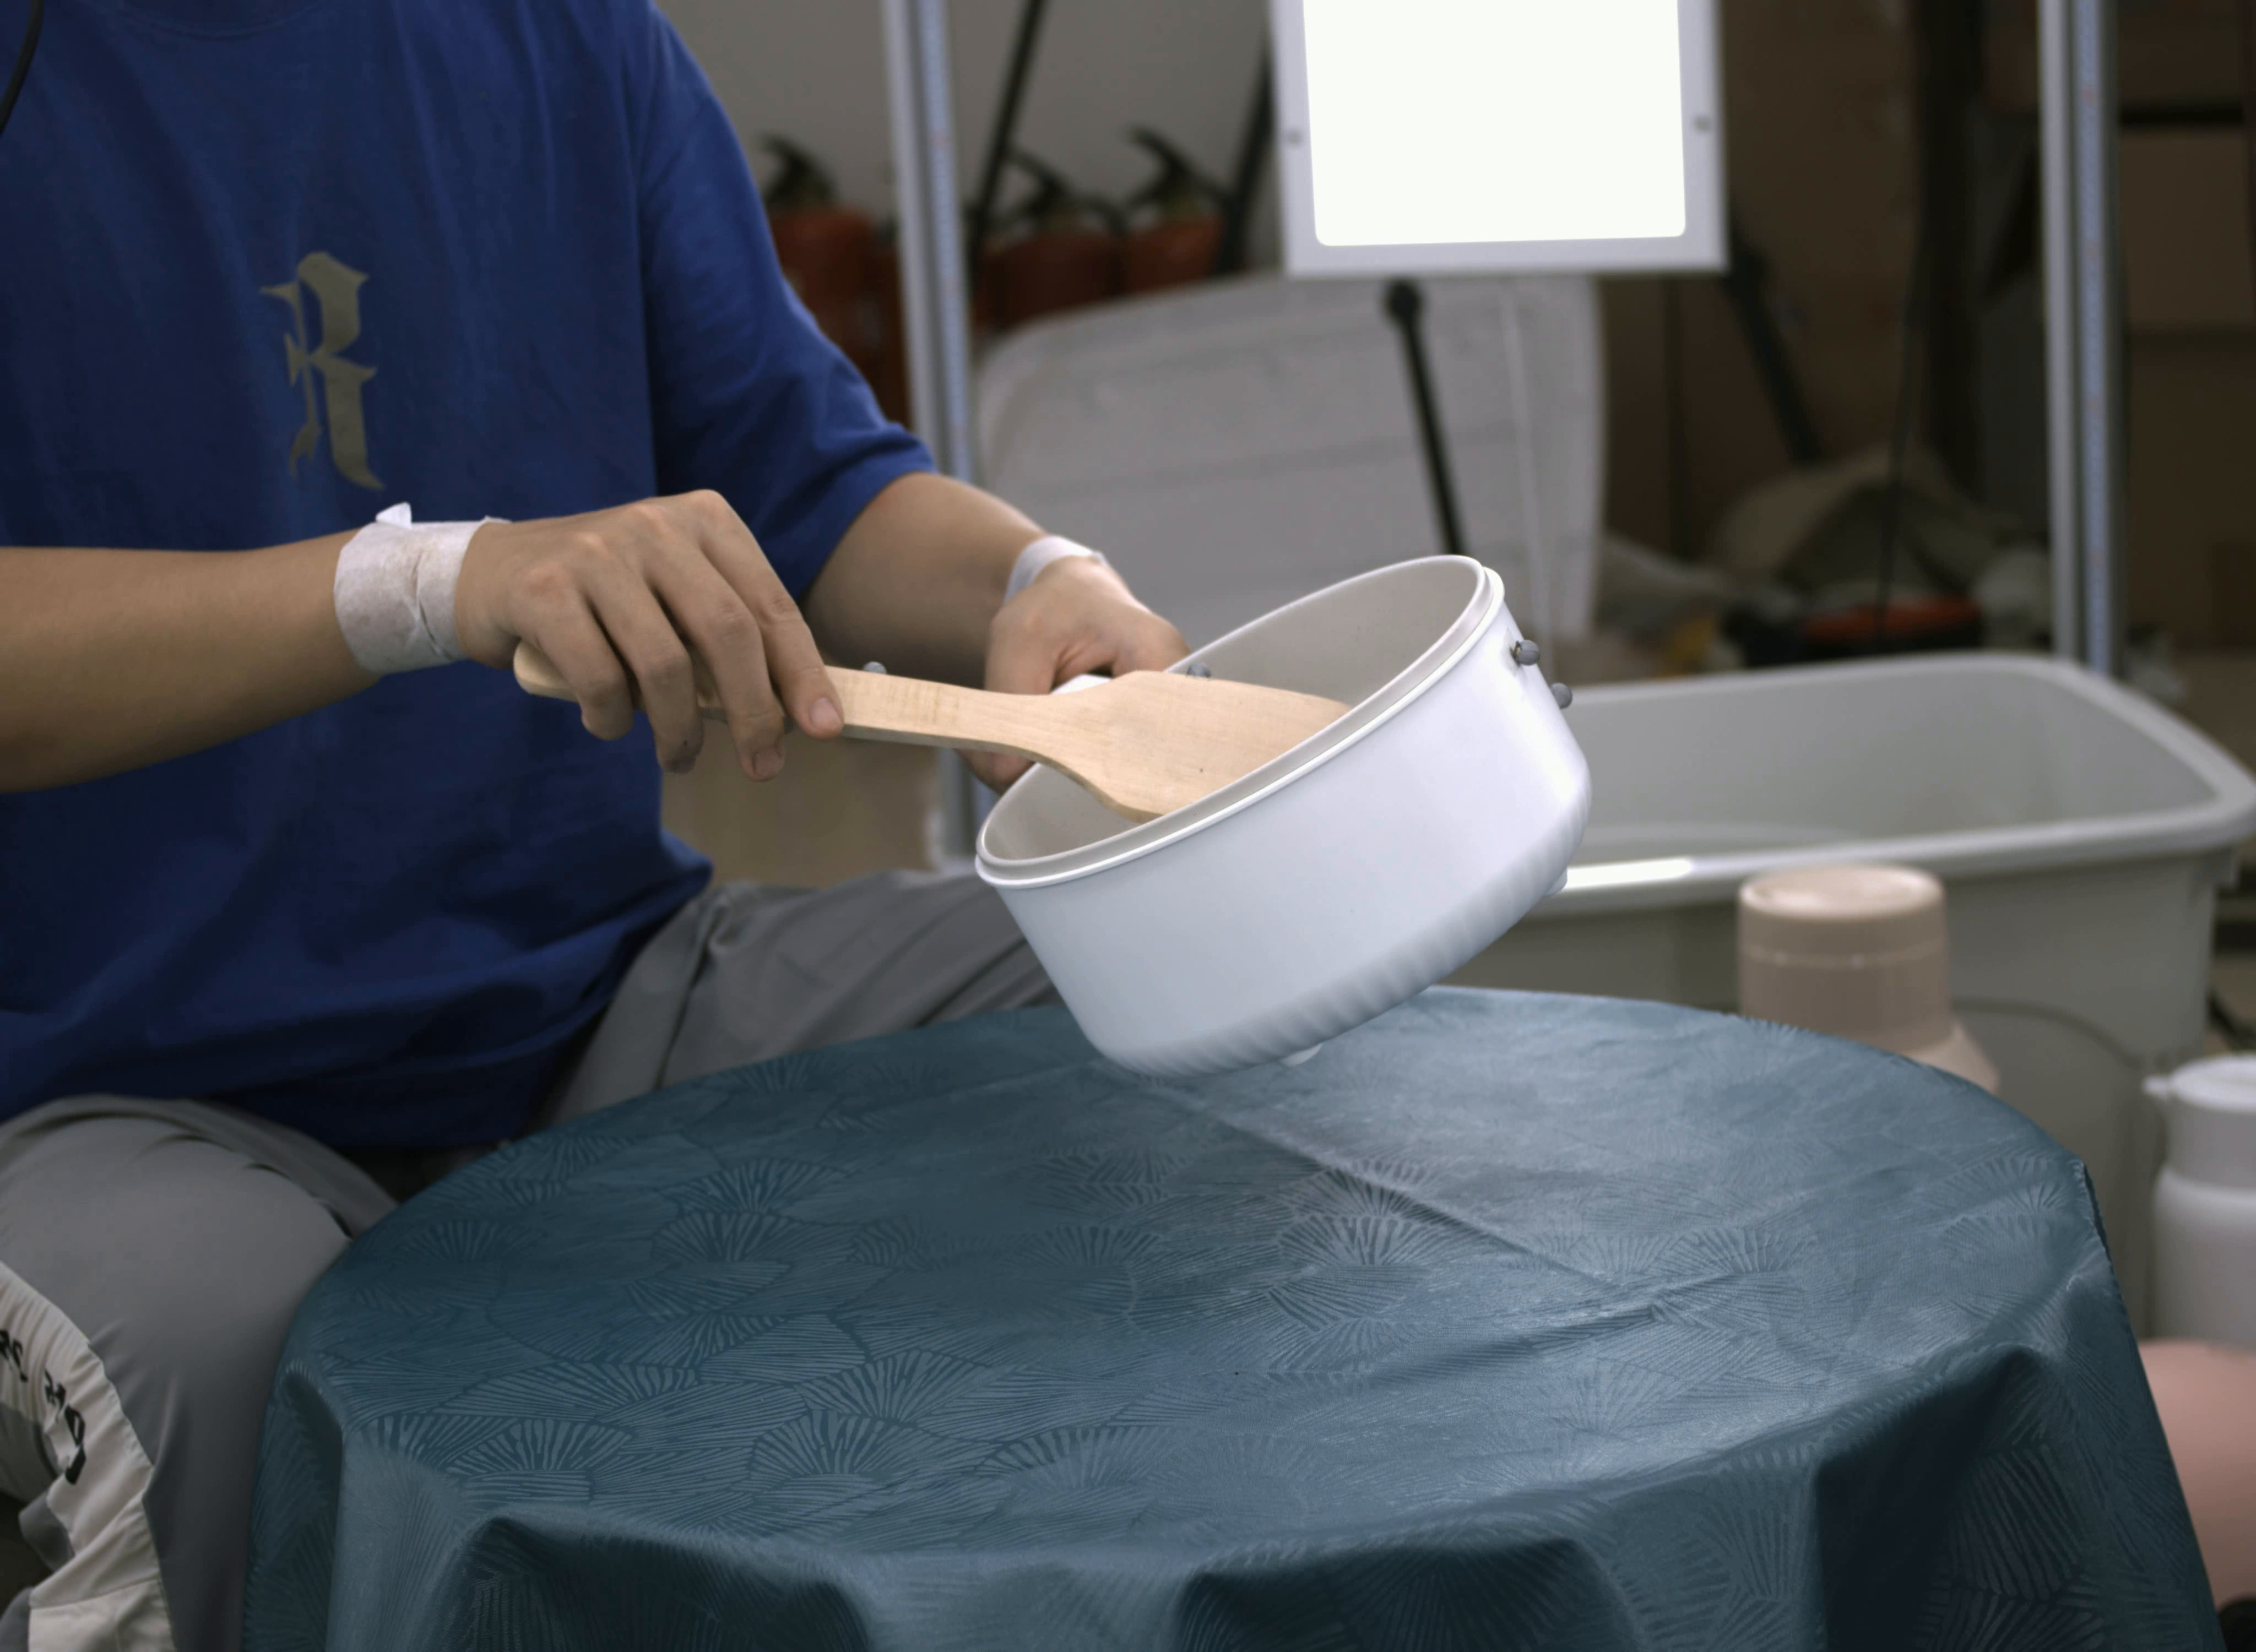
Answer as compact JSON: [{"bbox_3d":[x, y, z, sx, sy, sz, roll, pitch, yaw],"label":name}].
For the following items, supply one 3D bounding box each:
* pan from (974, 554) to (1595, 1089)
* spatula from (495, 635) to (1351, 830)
[{"bbox_3d":[0.033,-0.002,1.925,0.199,0.102,0.359,-36,15,-13],"label":"pan"},{"bbox_3d":[-0.069,-0.037,1.860,0.293,0.011,0.072,8,49,3],"label":"spatula"}]
